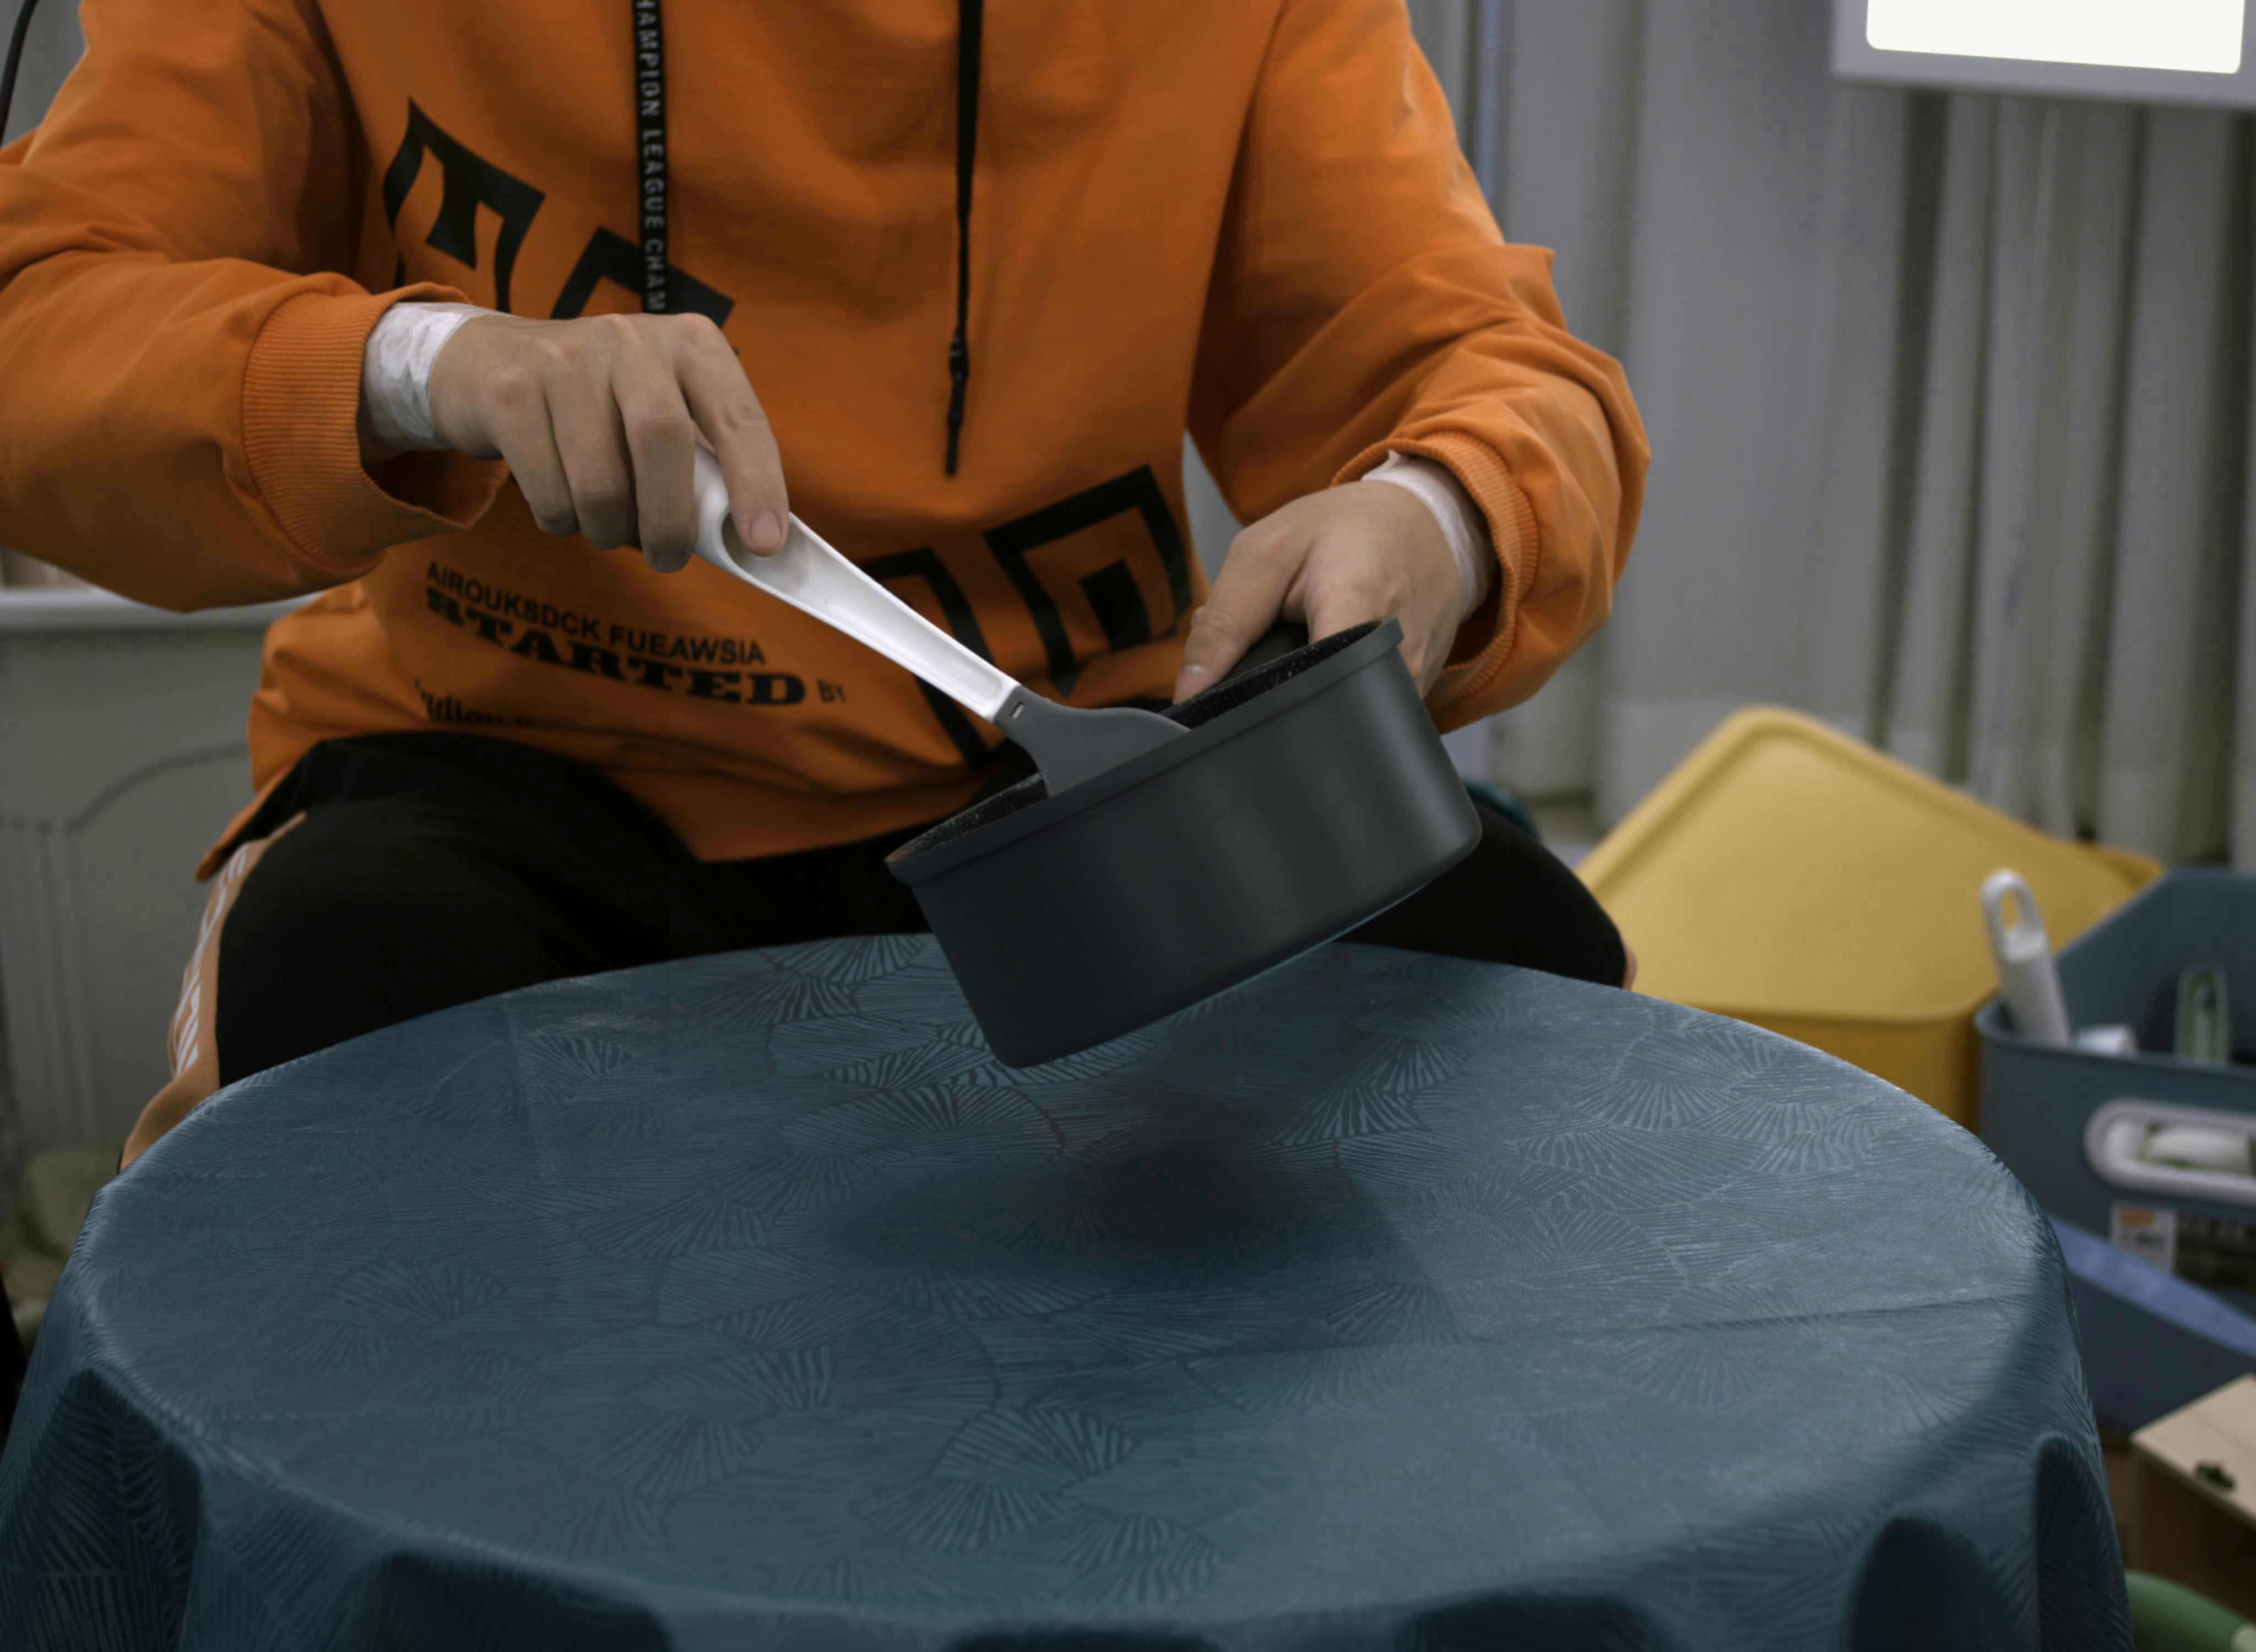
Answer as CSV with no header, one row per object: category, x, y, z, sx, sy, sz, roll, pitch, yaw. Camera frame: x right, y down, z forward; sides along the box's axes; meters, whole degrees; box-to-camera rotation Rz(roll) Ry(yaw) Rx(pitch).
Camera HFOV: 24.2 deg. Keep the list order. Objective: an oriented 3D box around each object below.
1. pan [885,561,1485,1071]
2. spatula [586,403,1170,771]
pan,0.039,-0.013,1.657,0.171,0.087,0.329,-23,6,19
spatula,-0.058,-0.054,1.659,0.284,0.058,0.032,33,-9,24
